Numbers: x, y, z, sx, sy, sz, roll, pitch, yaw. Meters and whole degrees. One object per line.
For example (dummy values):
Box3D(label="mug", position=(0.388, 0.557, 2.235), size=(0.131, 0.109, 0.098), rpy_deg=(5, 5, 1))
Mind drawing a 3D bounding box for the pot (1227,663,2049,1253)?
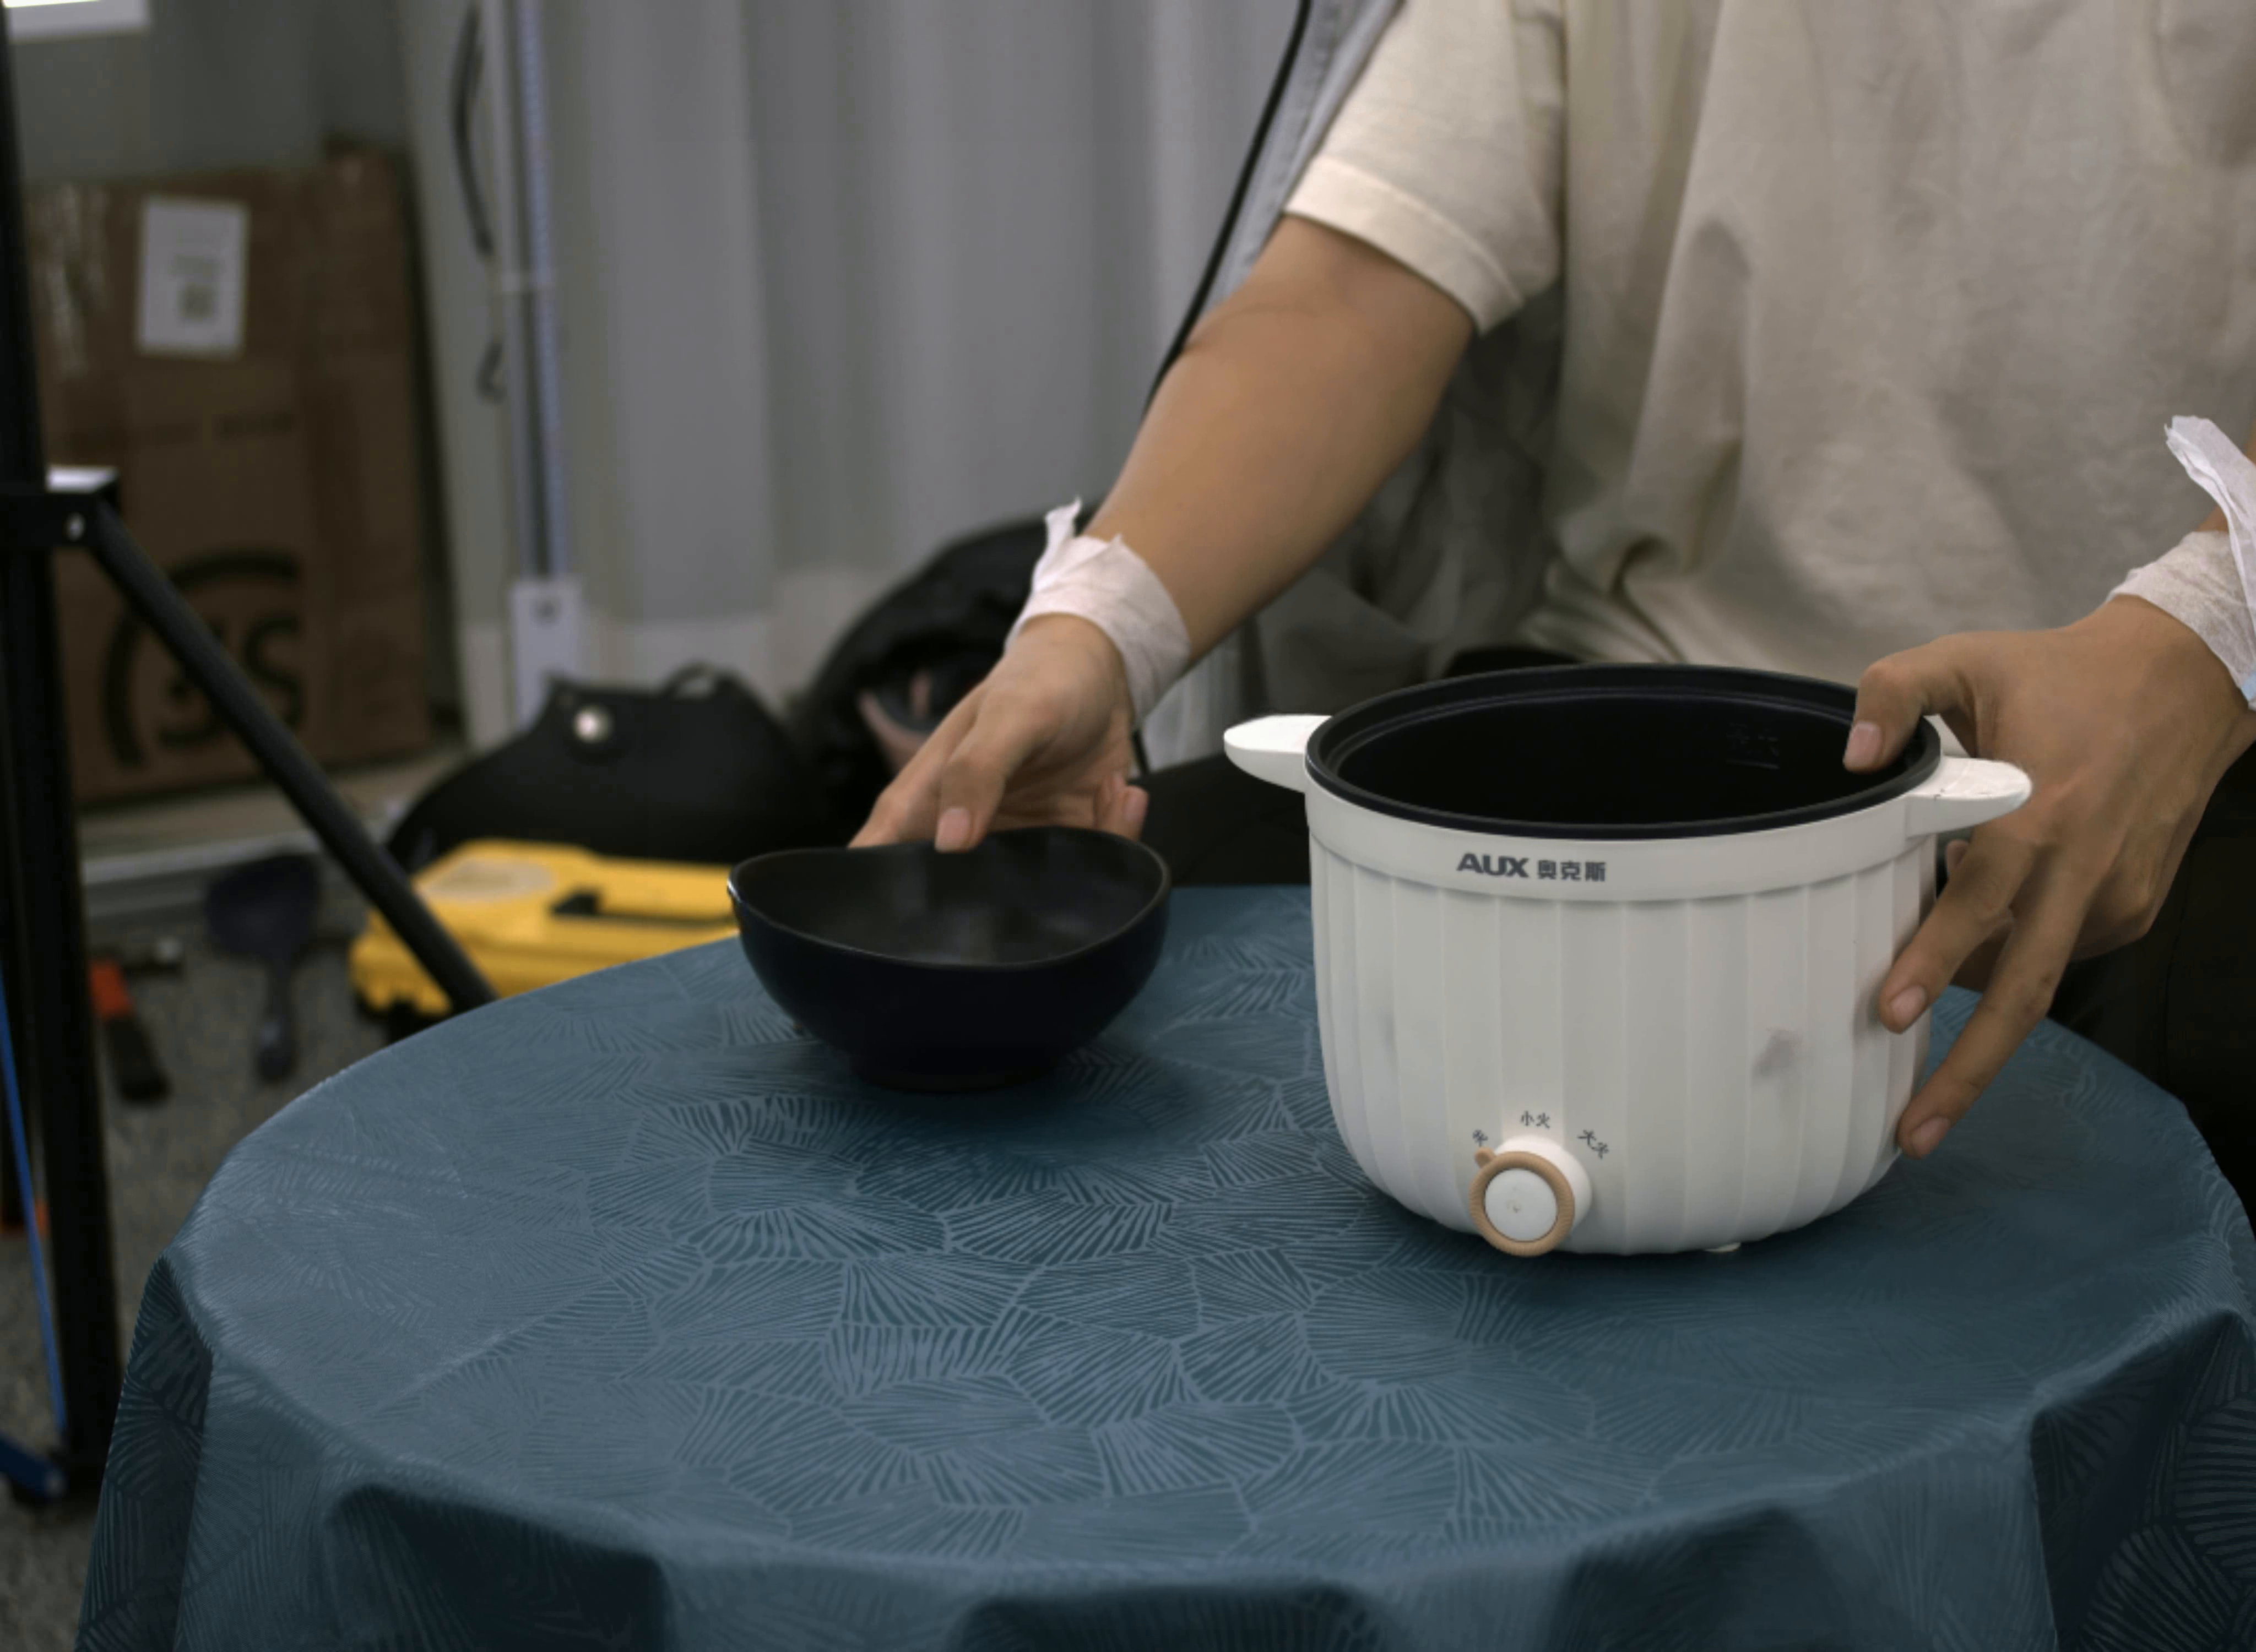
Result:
Box3D(label="pot", position=(0.142, 0.041, 1.517), size=(0.243, 0.143, 0.188), rpy_deg=(3, 13, 22))

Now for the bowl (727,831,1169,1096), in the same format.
Box3D(label="bowl", position=(-0.057, 0.045, 1.673), size=(0.135, 0.067, 0.173), rpy_deg=(-5, 15, -15))
